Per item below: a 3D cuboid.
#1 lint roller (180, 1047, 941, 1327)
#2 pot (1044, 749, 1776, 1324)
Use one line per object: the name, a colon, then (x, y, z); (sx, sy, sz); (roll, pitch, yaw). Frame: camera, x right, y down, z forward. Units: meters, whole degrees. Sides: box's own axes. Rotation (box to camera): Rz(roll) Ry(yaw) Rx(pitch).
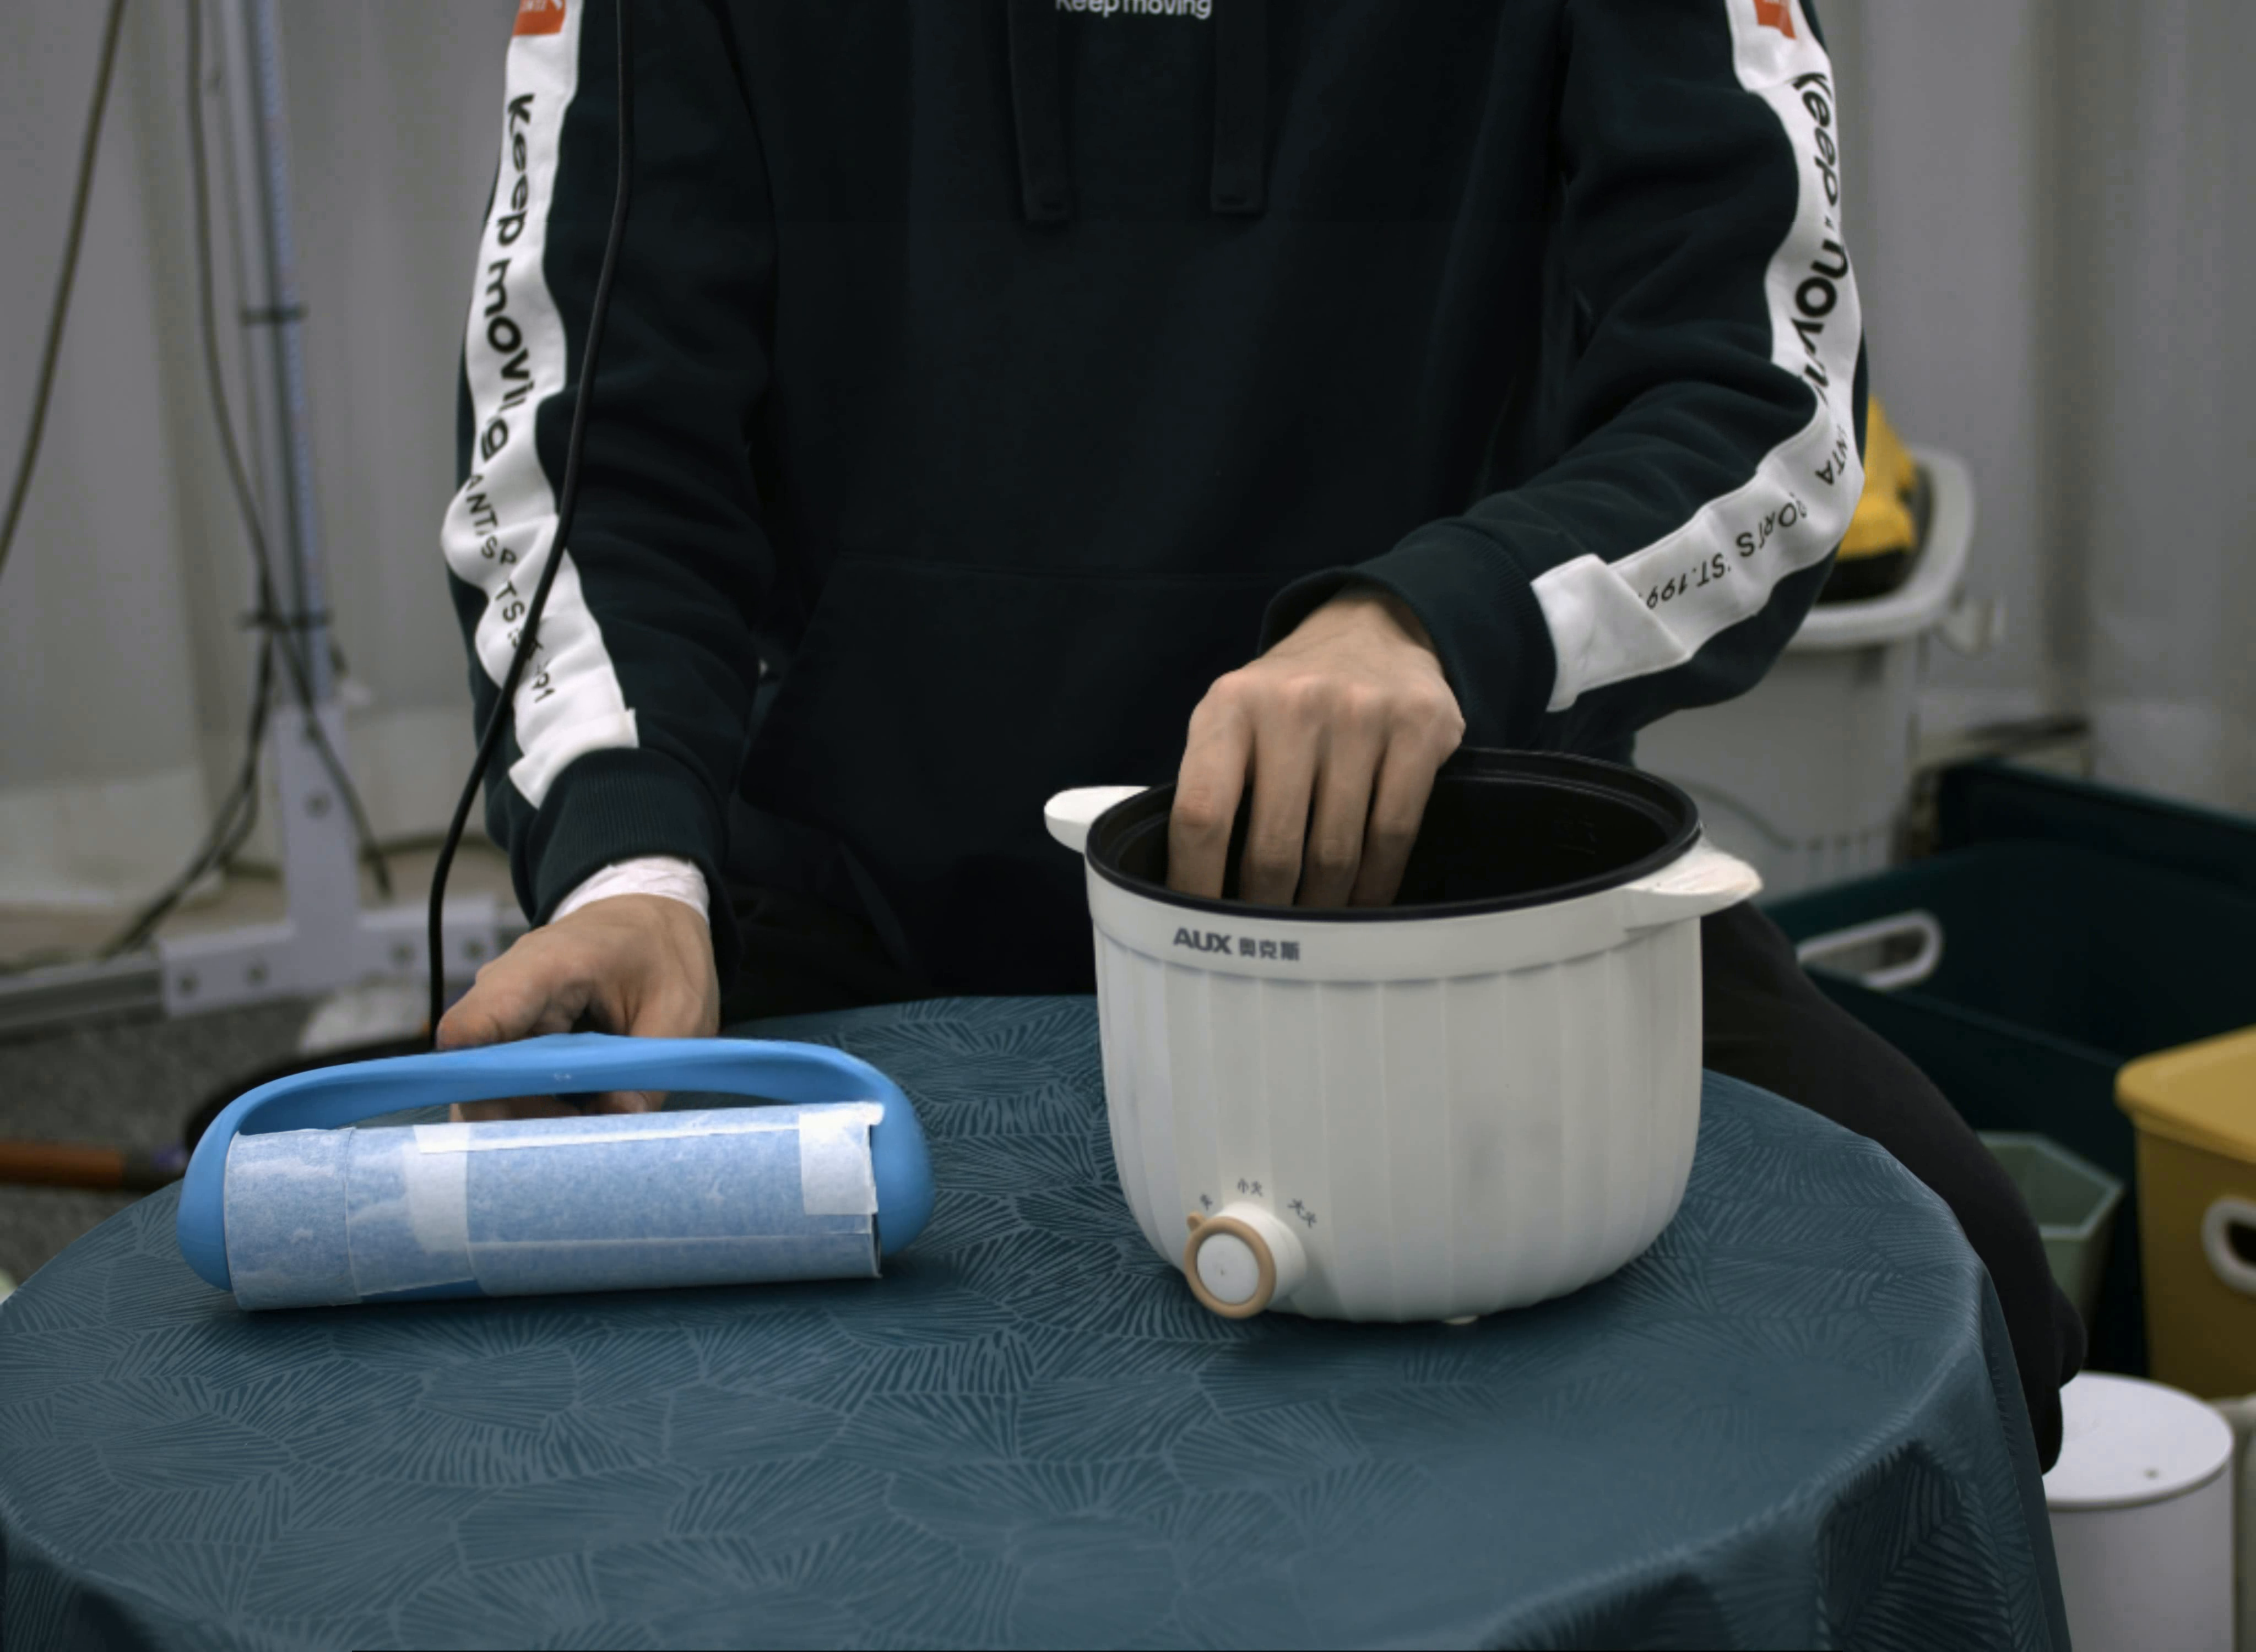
lint roller: (-0.175, 0.100, 1.700); (0.228, 0.067, 0.181); (-6, 16, -3)
pot: (0.080, 0.065, 1.617); (0.241, 0.142, 0.190); (5, 13, 32)
